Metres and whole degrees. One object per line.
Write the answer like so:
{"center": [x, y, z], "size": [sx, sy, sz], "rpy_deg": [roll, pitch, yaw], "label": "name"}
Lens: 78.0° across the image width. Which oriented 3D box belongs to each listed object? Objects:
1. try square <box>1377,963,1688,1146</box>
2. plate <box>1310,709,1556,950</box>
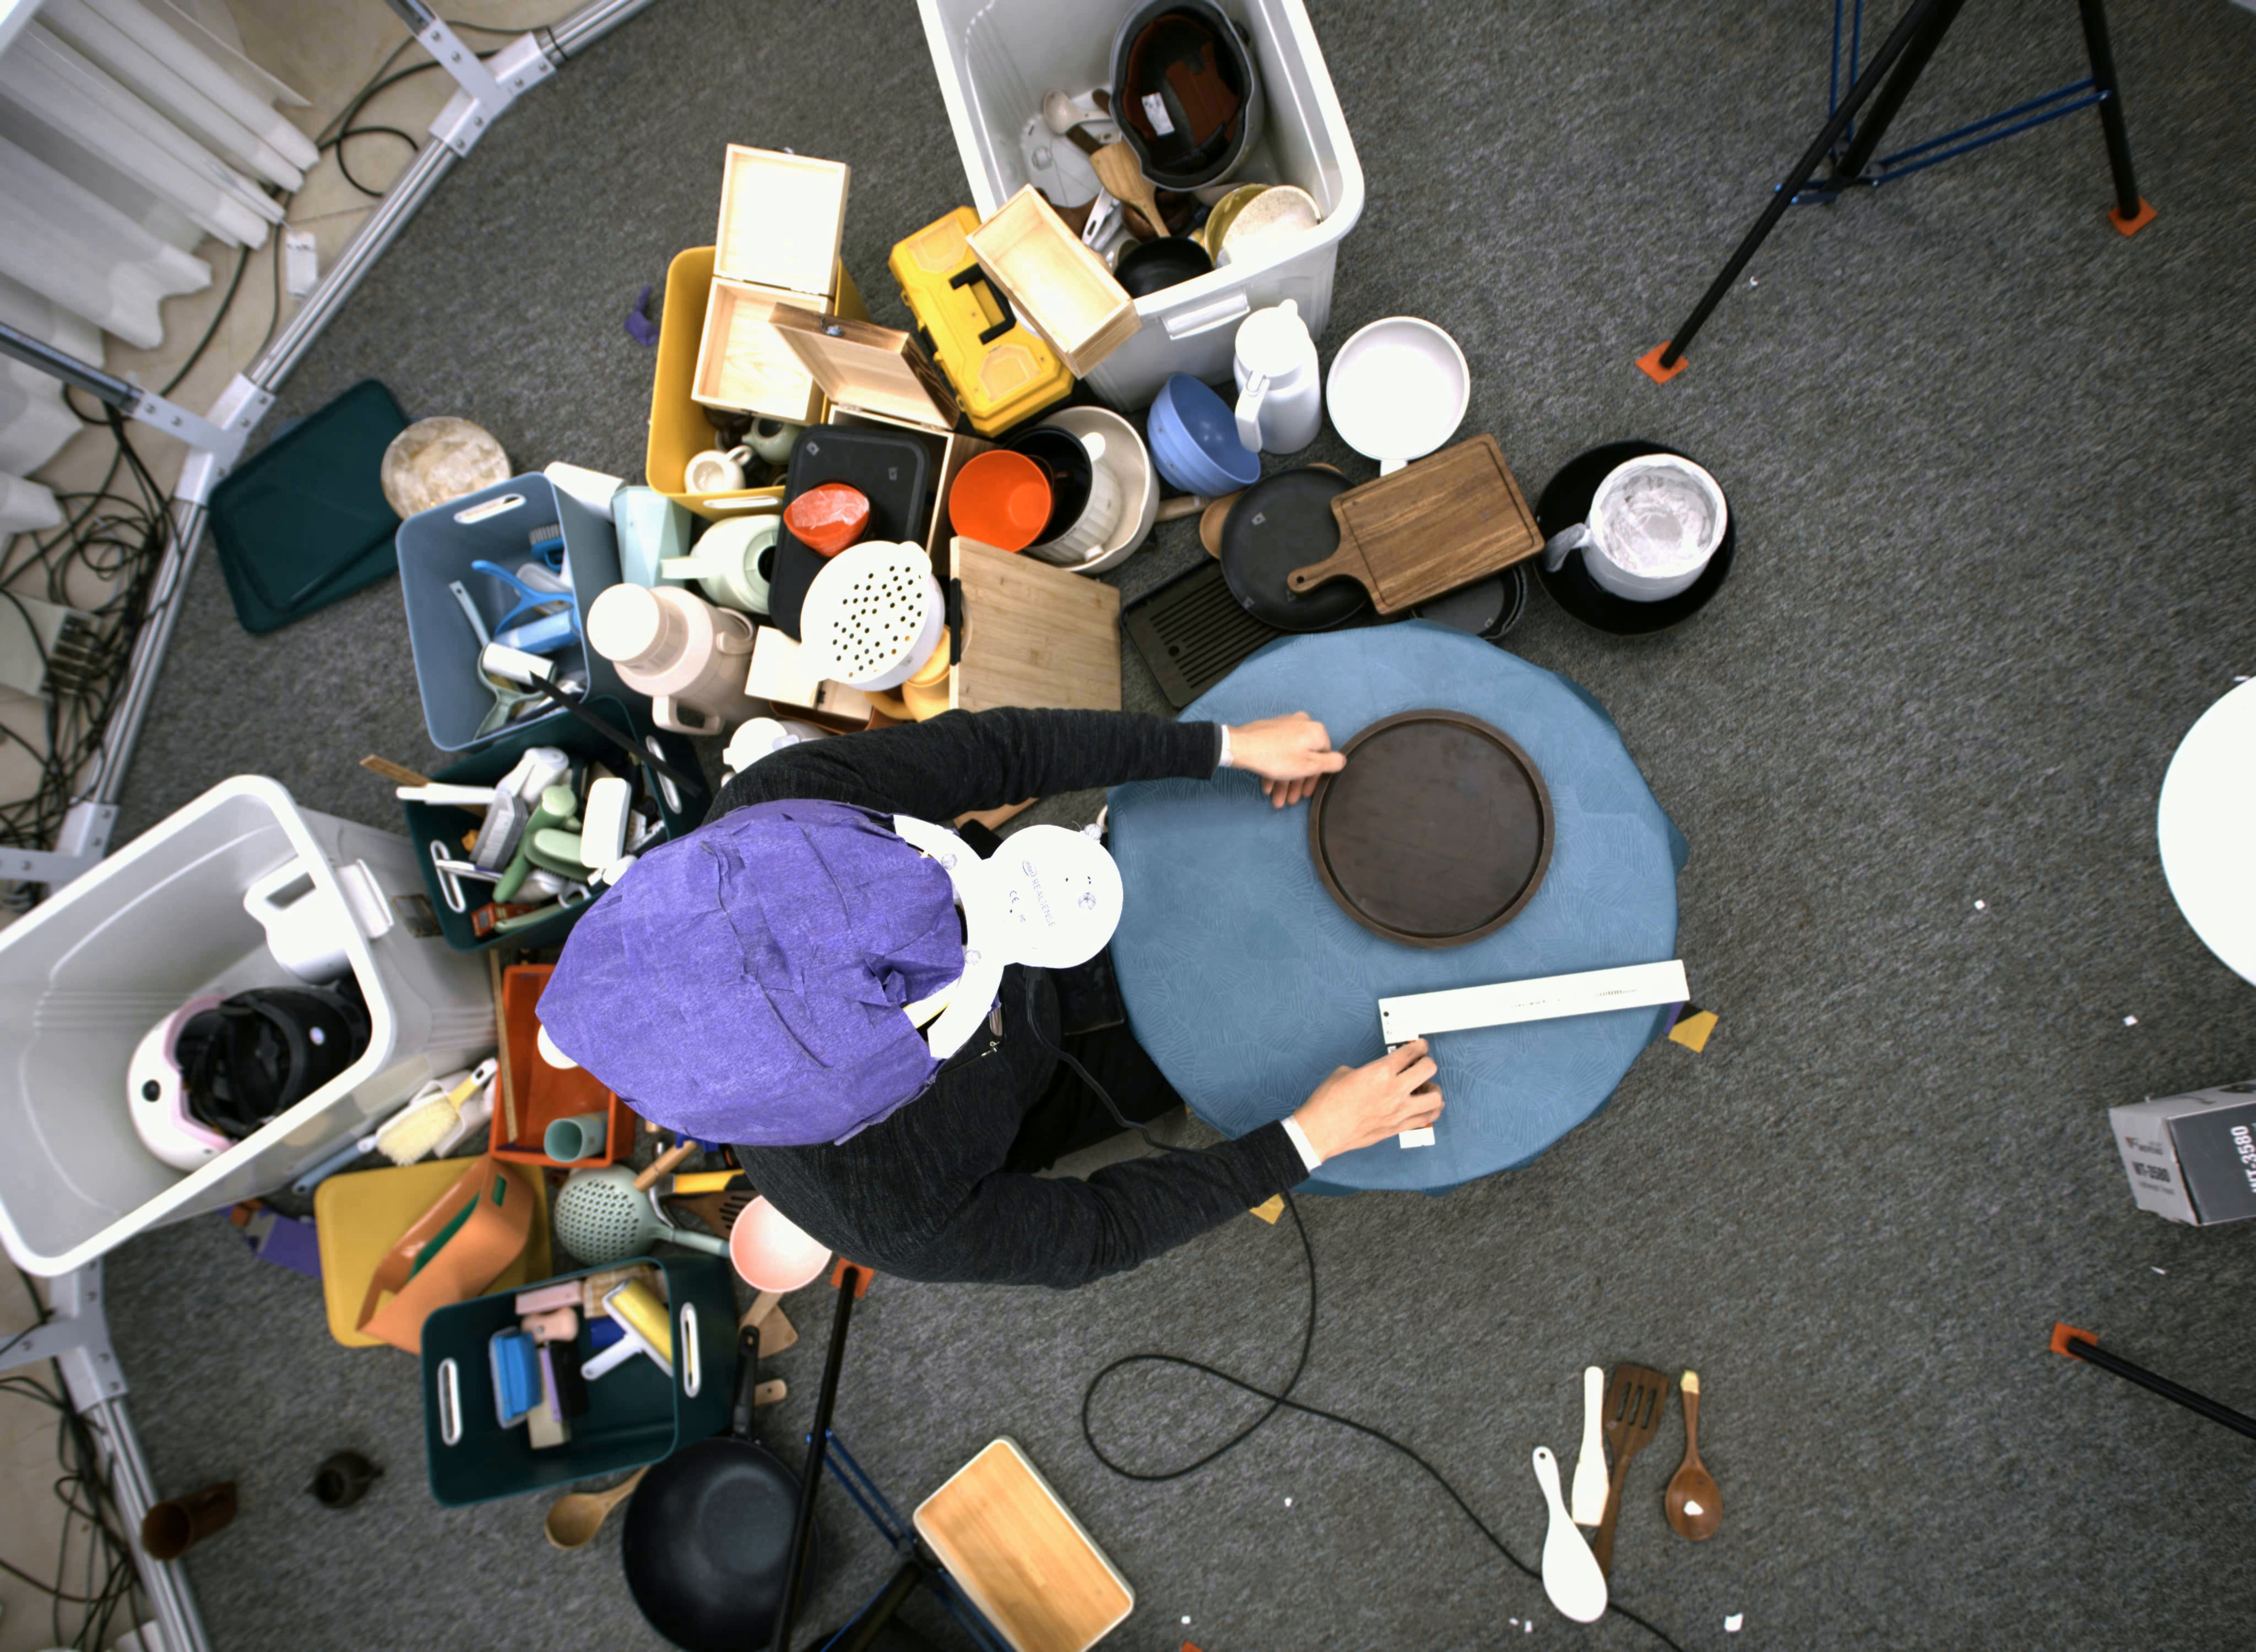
{"center": [0.416, 0.229, 1.397], "size": [0.314, 0.016, 0.151], "rpy_deg": [-8, 80, 7], "label": "try square"}
{"center": [0.317, 0.002, 1.443], "size": [0.256, 0.029, 0.253], "rpy_deg": [-1, 86, 9], "label": "plate"}
